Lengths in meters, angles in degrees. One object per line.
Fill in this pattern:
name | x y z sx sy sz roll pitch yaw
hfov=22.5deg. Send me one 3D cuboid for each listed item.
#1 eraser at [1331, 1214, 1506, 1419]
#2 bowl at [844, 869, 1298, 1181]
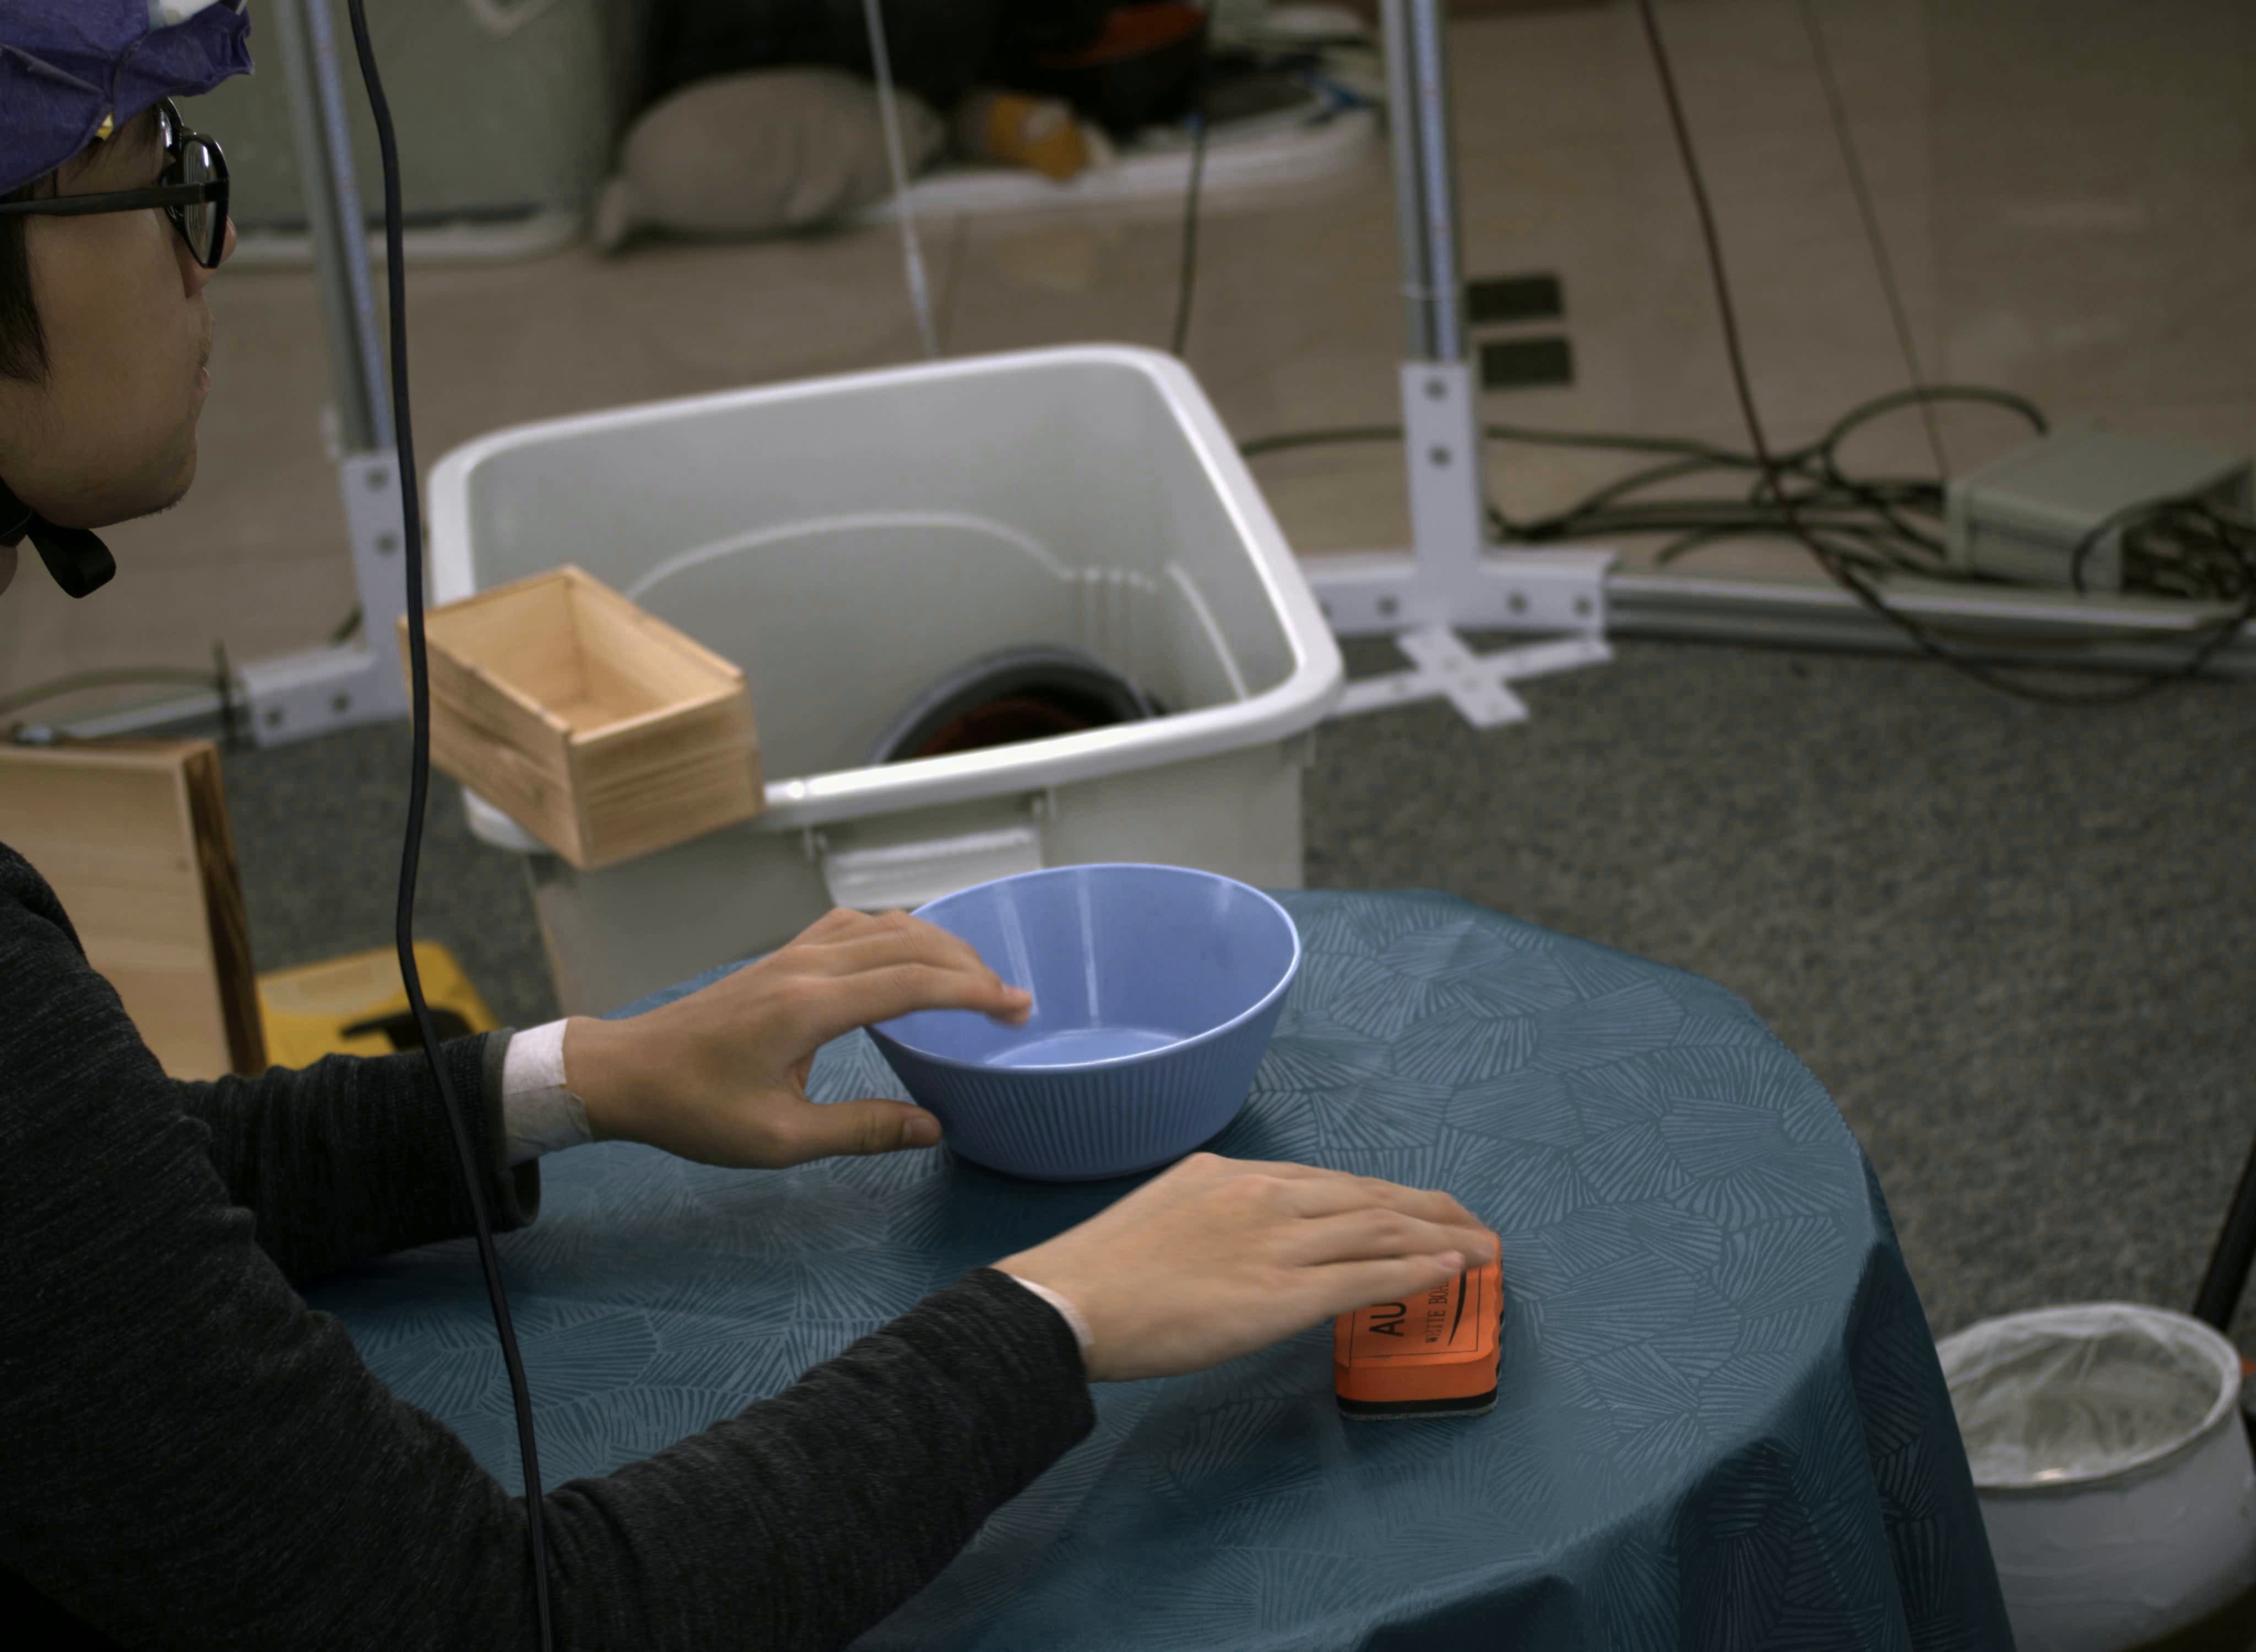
eraser | 0.104 0.174 2.020 0.059 0.023 0.106 -2 26 7
bowl | -0.019 0.082 2.191 0.176 0.071 0.173 -5 25 2
